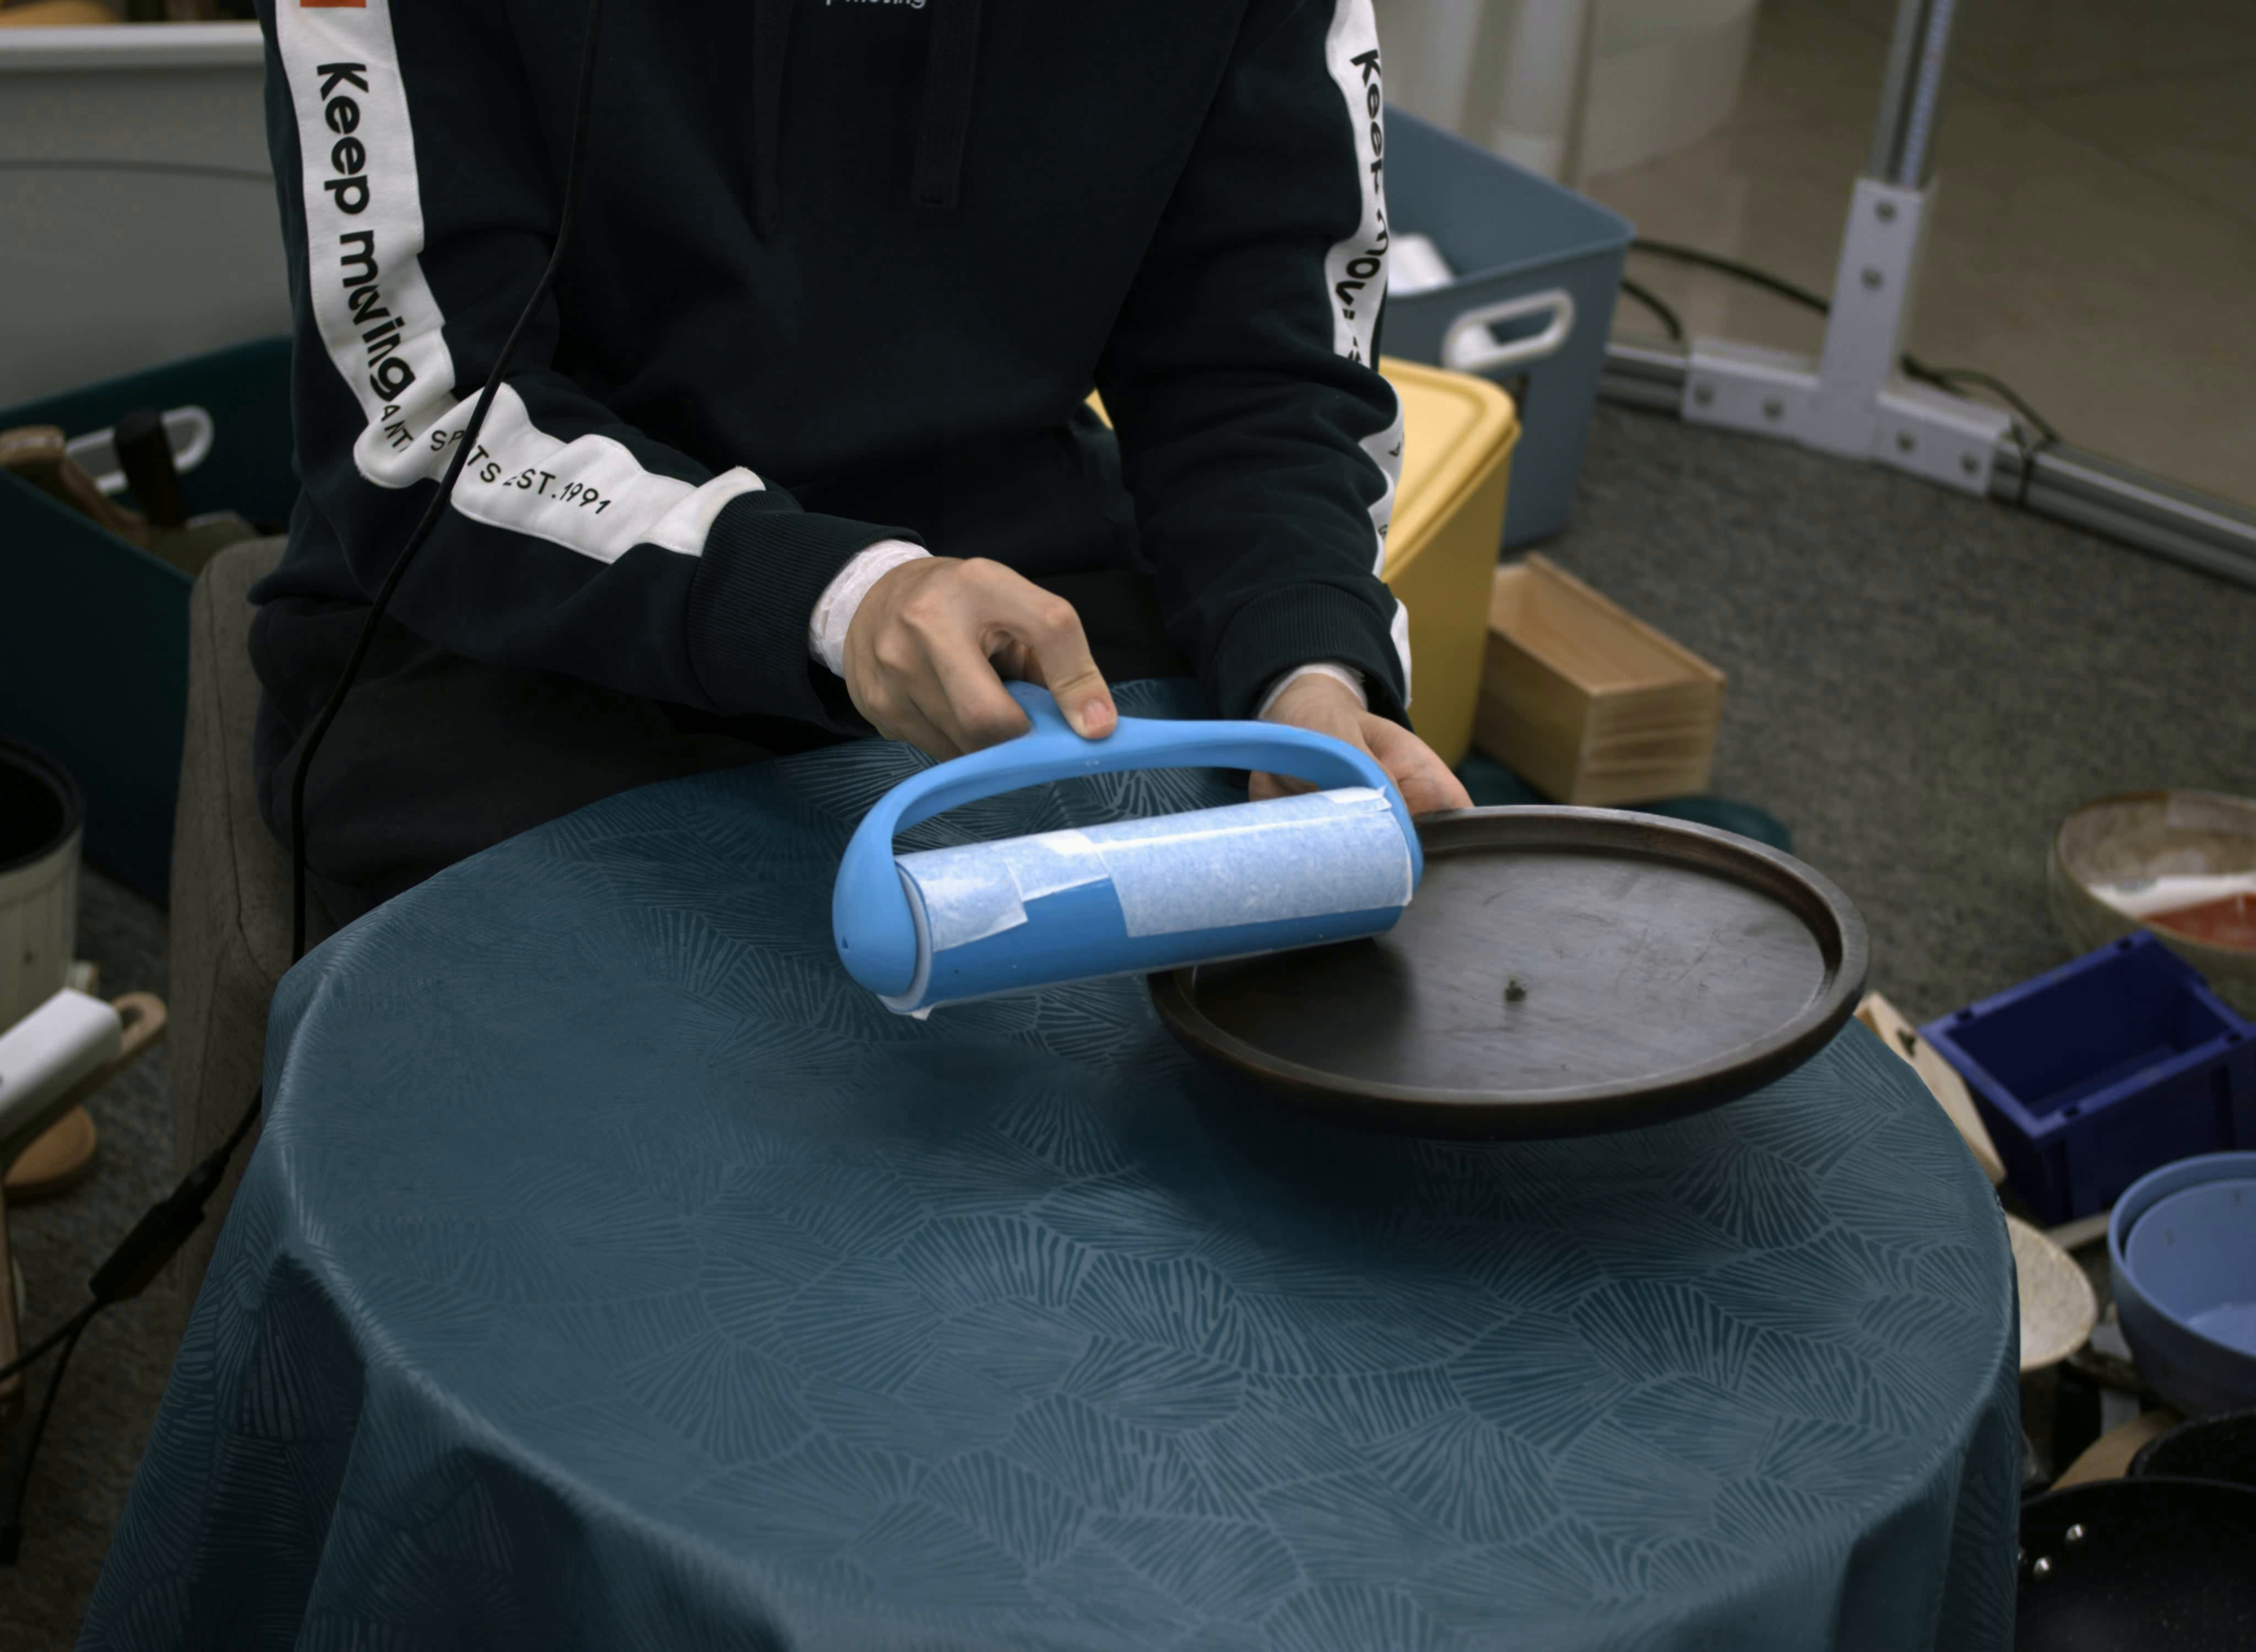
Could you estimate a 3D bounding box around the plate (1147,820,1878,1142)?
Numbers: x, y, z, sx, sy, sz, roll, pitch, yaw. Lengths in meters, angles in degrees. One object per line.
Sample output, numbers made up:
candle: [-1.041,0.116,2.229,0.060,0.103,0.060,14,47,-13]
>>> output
plate: [0.133,0.051,1.848,0.254,0.029,0.256,-2,22,0]

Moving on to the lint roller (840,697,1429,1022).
lint roller: [-0.025,-0.008,1.869,0.227,0.067,0.182,-12,40,-30]
